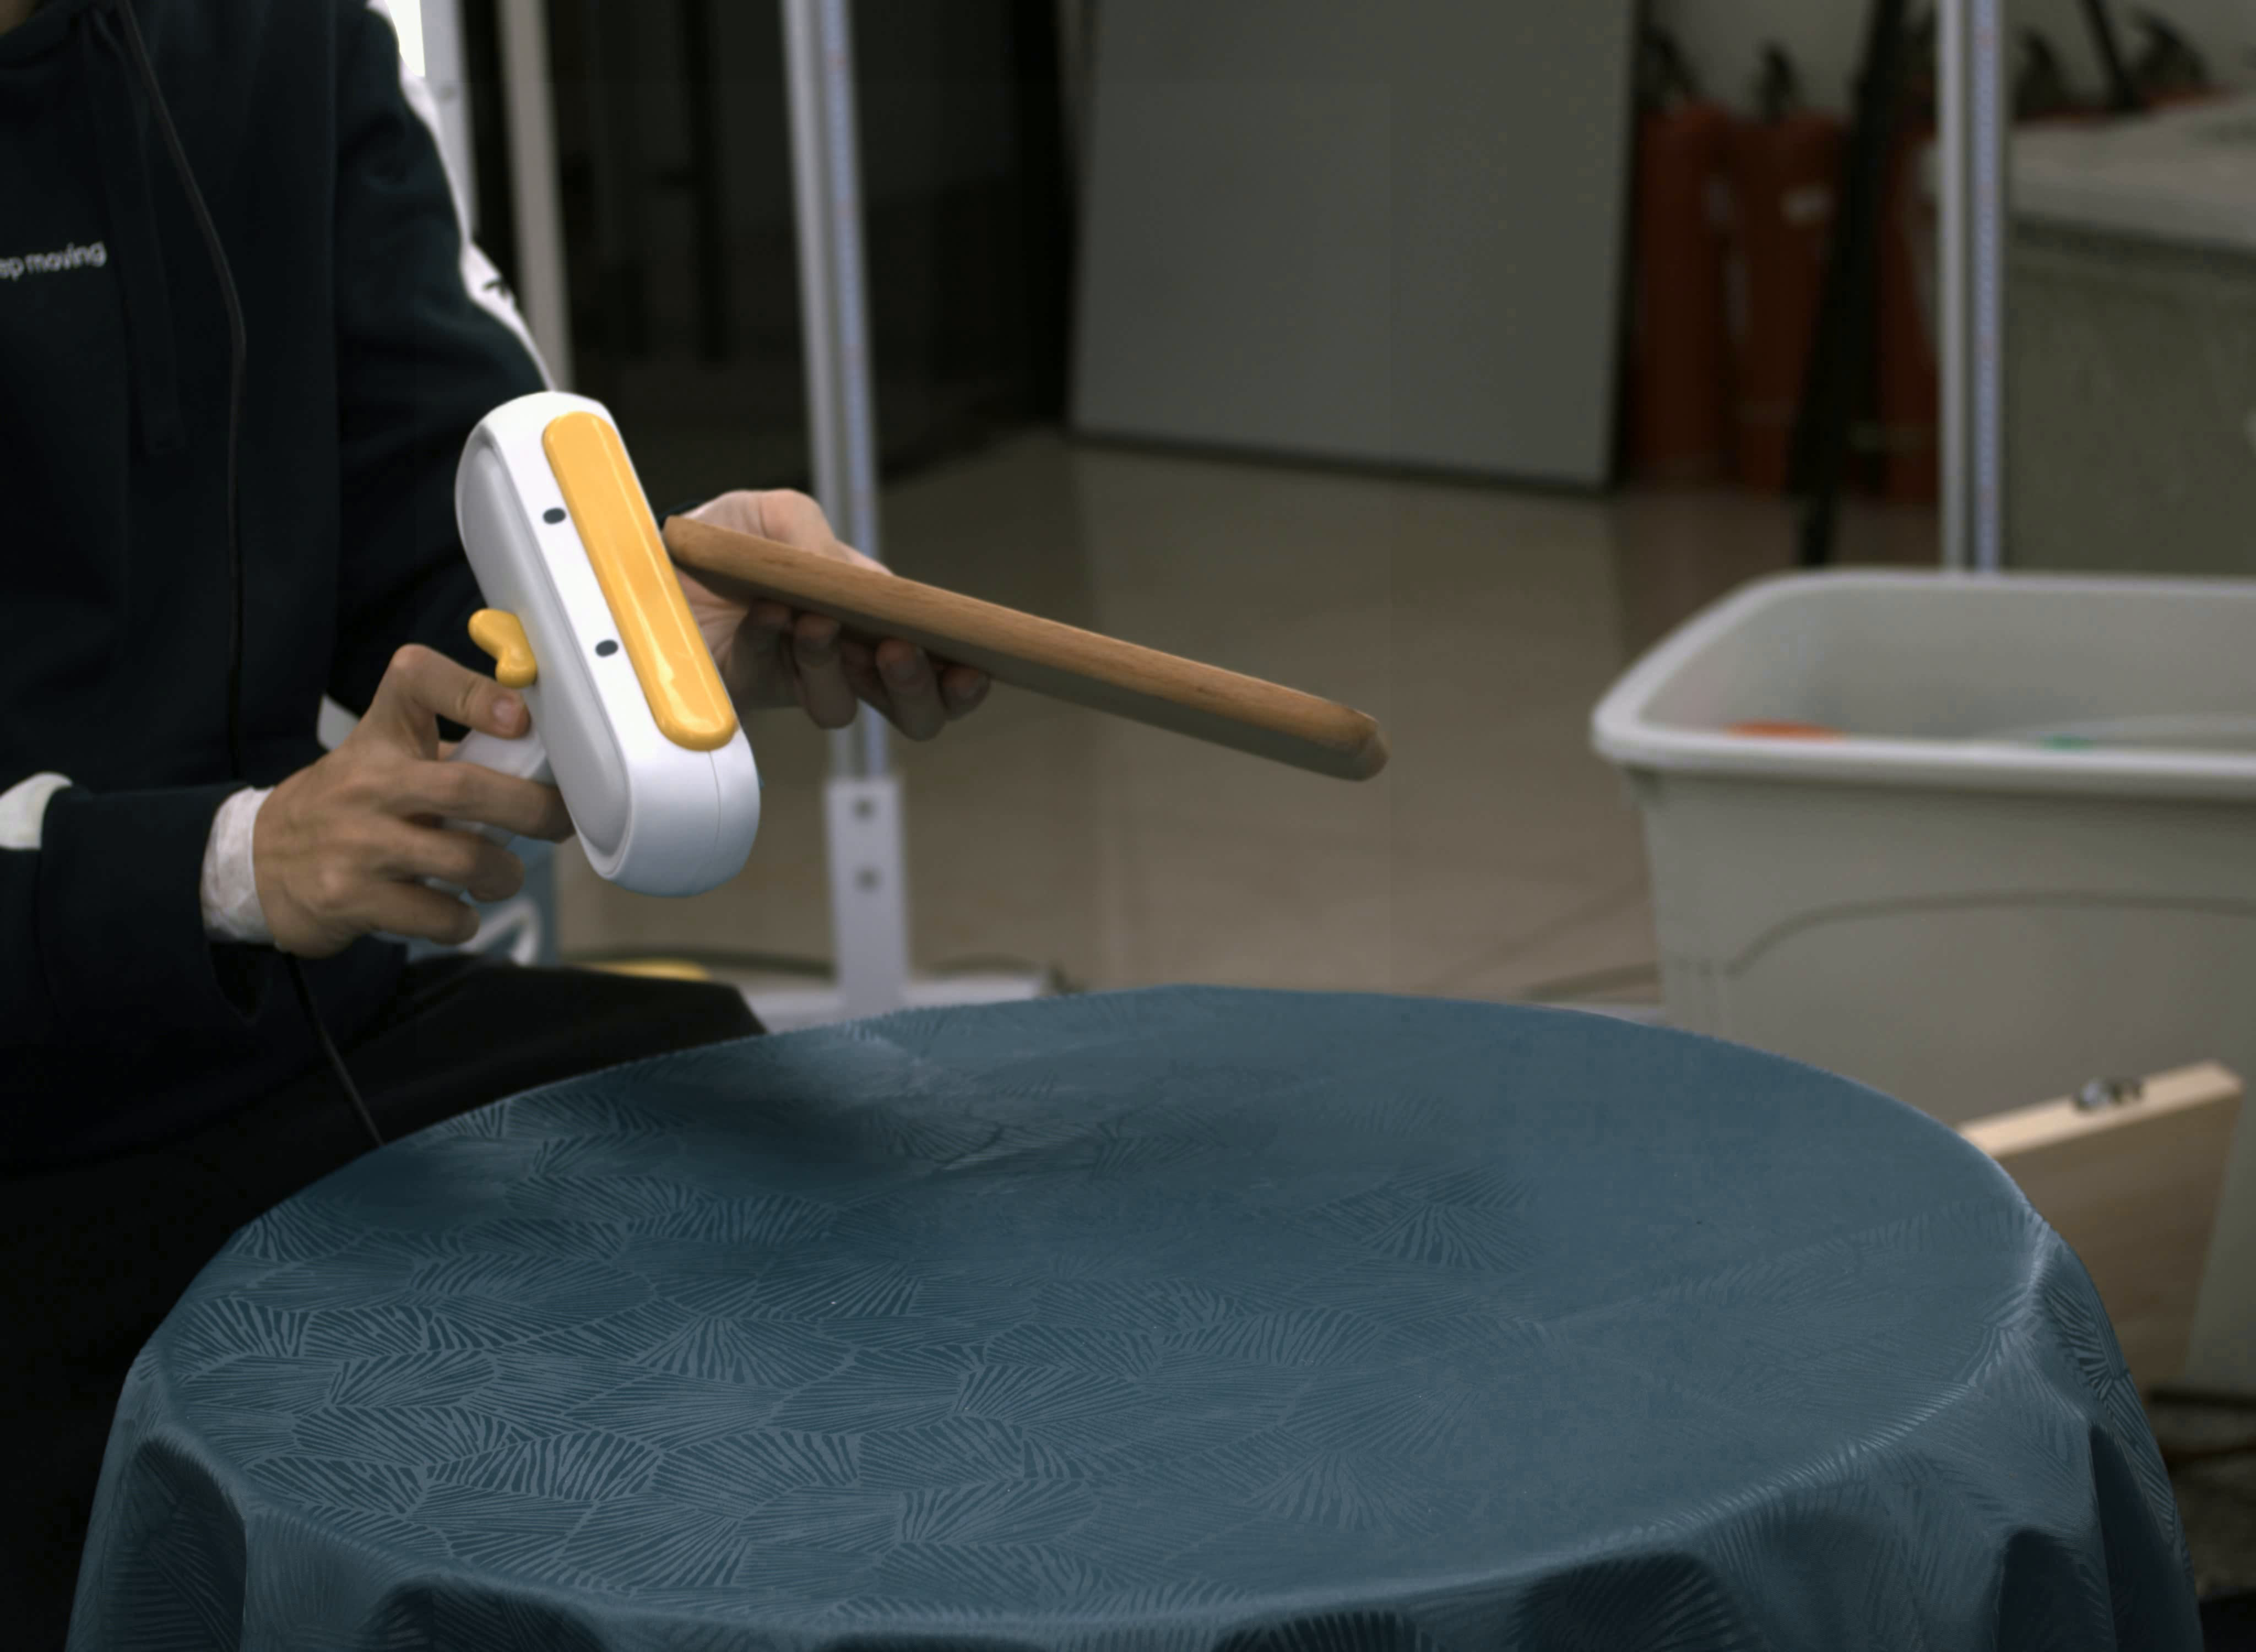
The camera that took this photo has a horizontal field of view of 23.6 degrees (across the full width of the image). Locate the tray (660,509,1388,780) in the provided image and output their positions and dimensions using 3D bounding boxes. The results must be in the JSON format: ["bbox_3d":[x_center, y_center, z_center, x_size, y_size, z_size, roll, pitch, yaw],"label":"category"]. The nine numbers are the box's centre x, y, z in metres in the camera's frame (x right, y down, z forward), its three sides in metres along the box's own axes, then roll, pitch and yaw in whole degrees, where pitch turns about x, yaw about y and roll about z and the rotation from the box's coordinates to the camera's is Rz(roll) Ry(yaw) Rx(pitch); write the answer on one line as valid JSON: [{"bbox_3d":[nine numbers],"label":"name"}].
[{"bbox_3d":[-0.035,-0.060,1.822,0.249,0.023,0.130,15,-7,11],"label":"tray"}]

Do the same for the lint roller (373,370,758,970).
[{"bbox_3d":[-0.203,-0.027,1.838,0.072,0.194,0.195,-7,51,-34],"label":"lint roller"}]
